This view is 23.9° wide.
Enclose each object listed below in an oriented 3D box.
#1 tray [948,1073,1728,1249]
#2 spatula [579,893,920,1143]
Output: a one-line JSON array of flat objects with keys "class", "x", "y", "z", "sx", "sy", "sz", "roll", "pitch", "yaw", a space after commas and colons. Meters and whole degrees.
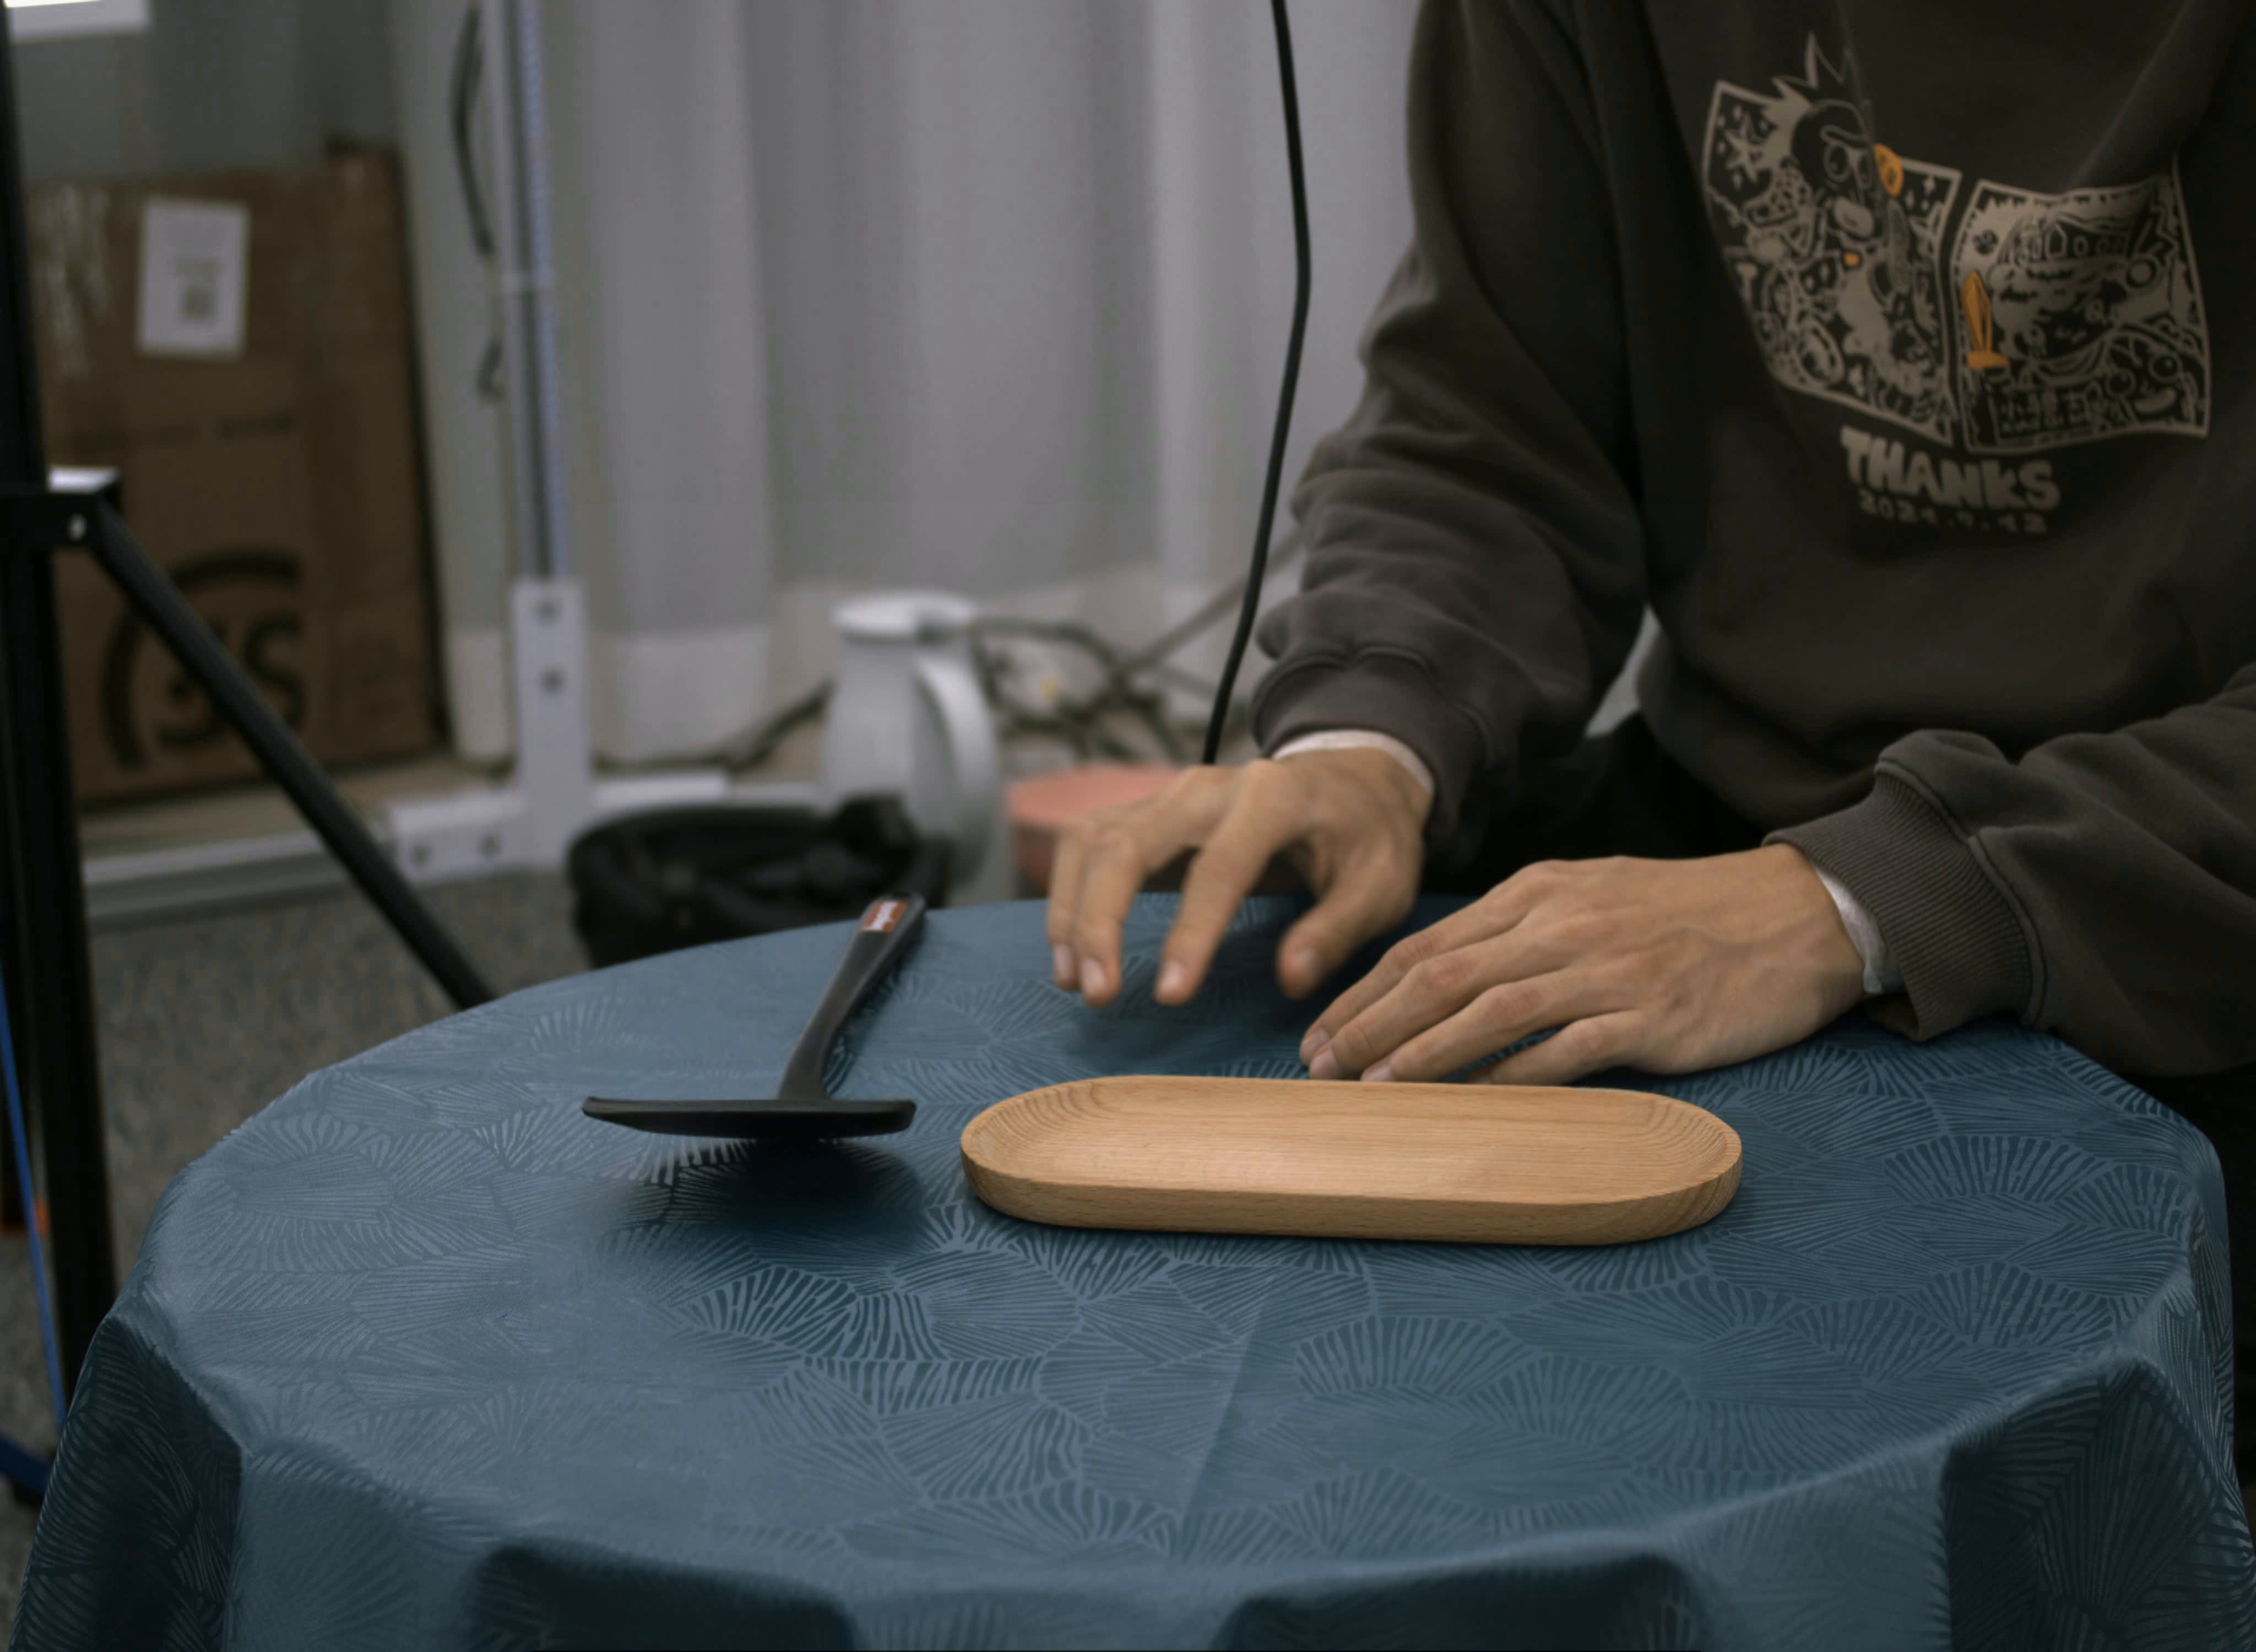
[{"class": "tray", "x": 0.061, "y": 0.098, "z": 1.556, "sx": 0.233, "sy": 0.020, "sz": 0.101, "roll": 0, "pitch": 16, "yaw": 15}, {"class": "spatula", "x": -0.096, "y": 0.056, "z": 1.695, "sx": 0.100, "sy": 0.040, "sz": 0.326, "roll": 0, "pitch": 16, "yaw": 6}]
